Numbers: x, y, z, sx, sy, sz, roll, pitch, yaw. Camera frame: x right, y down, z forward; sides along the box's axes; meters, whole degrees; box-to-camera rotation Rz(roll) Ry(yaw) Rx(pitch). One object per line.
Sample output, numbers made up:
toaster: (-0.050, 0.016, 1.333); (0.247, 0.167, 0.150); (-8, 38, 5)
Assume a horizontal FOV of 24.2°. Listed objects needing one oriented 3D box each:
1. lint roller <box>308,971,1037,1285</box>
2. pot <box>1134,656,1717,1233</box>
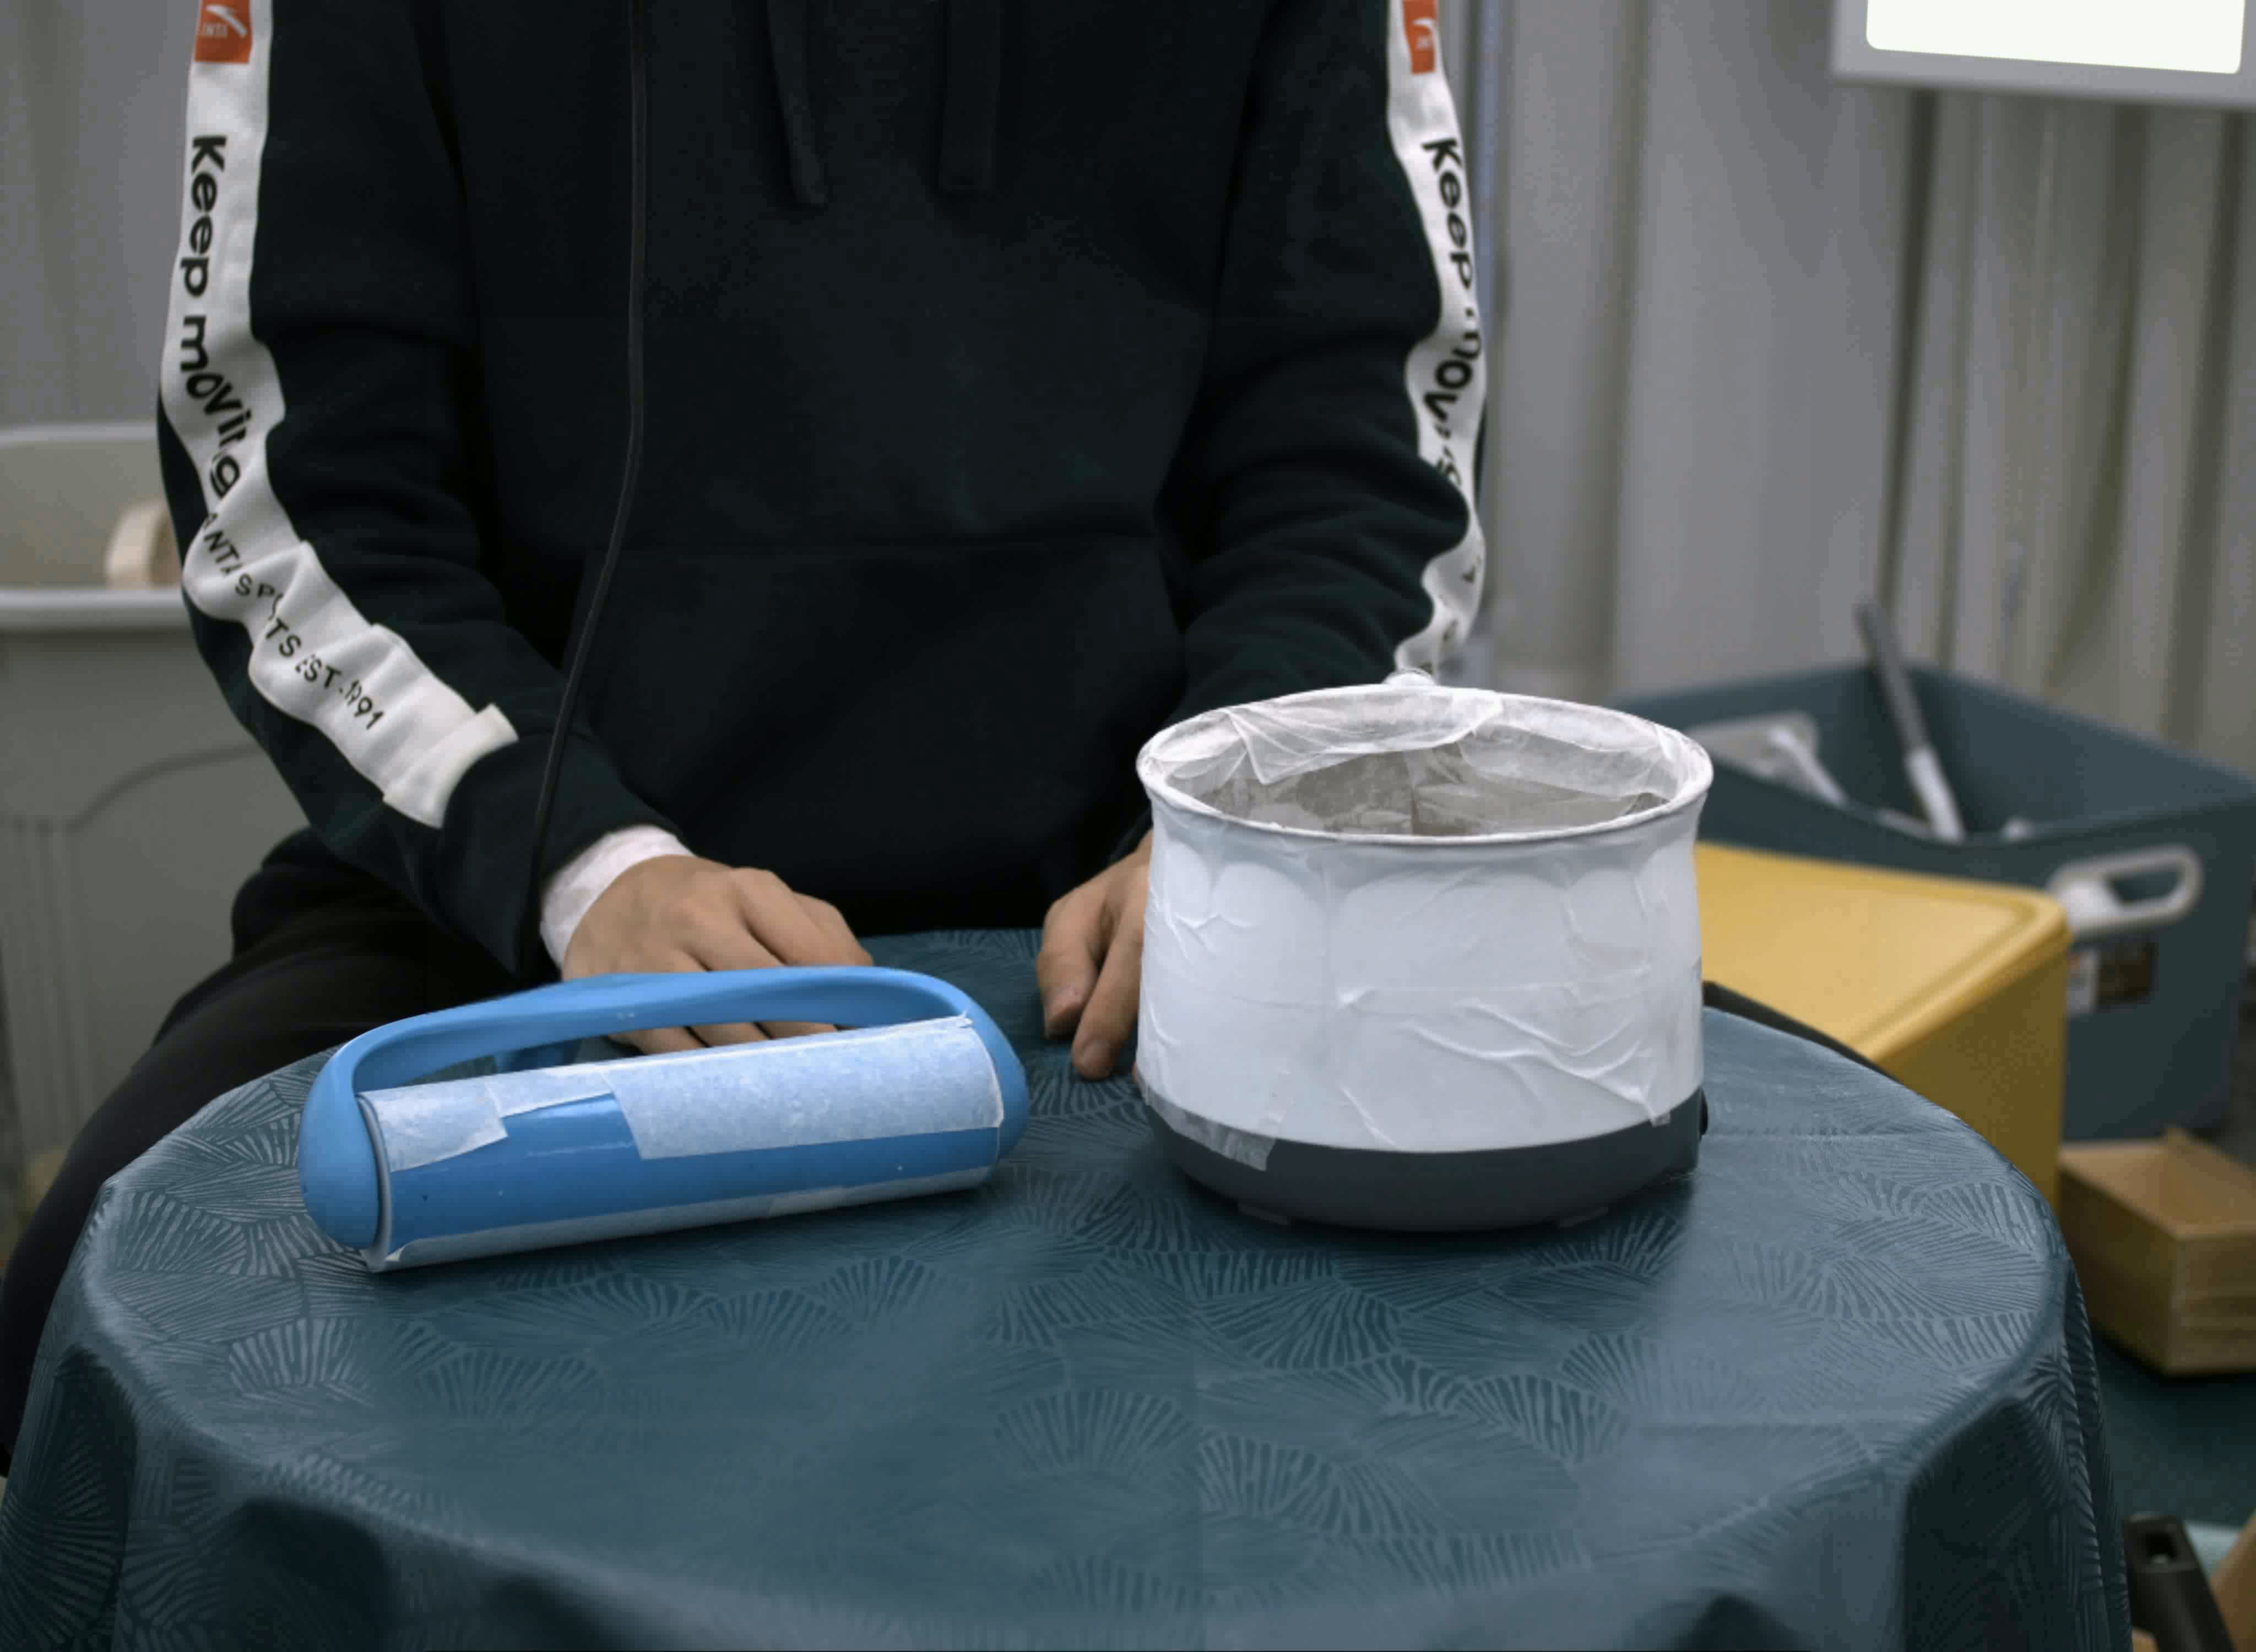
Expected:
lint roller: (-0.161, 0.080, 1.626); (0.230, 0.068, 0.178); (-10, 19, -27)
pot: (0.090, 0.032, 1.648); (0.178, 0.138, 0.232); (0, 17, -1)
